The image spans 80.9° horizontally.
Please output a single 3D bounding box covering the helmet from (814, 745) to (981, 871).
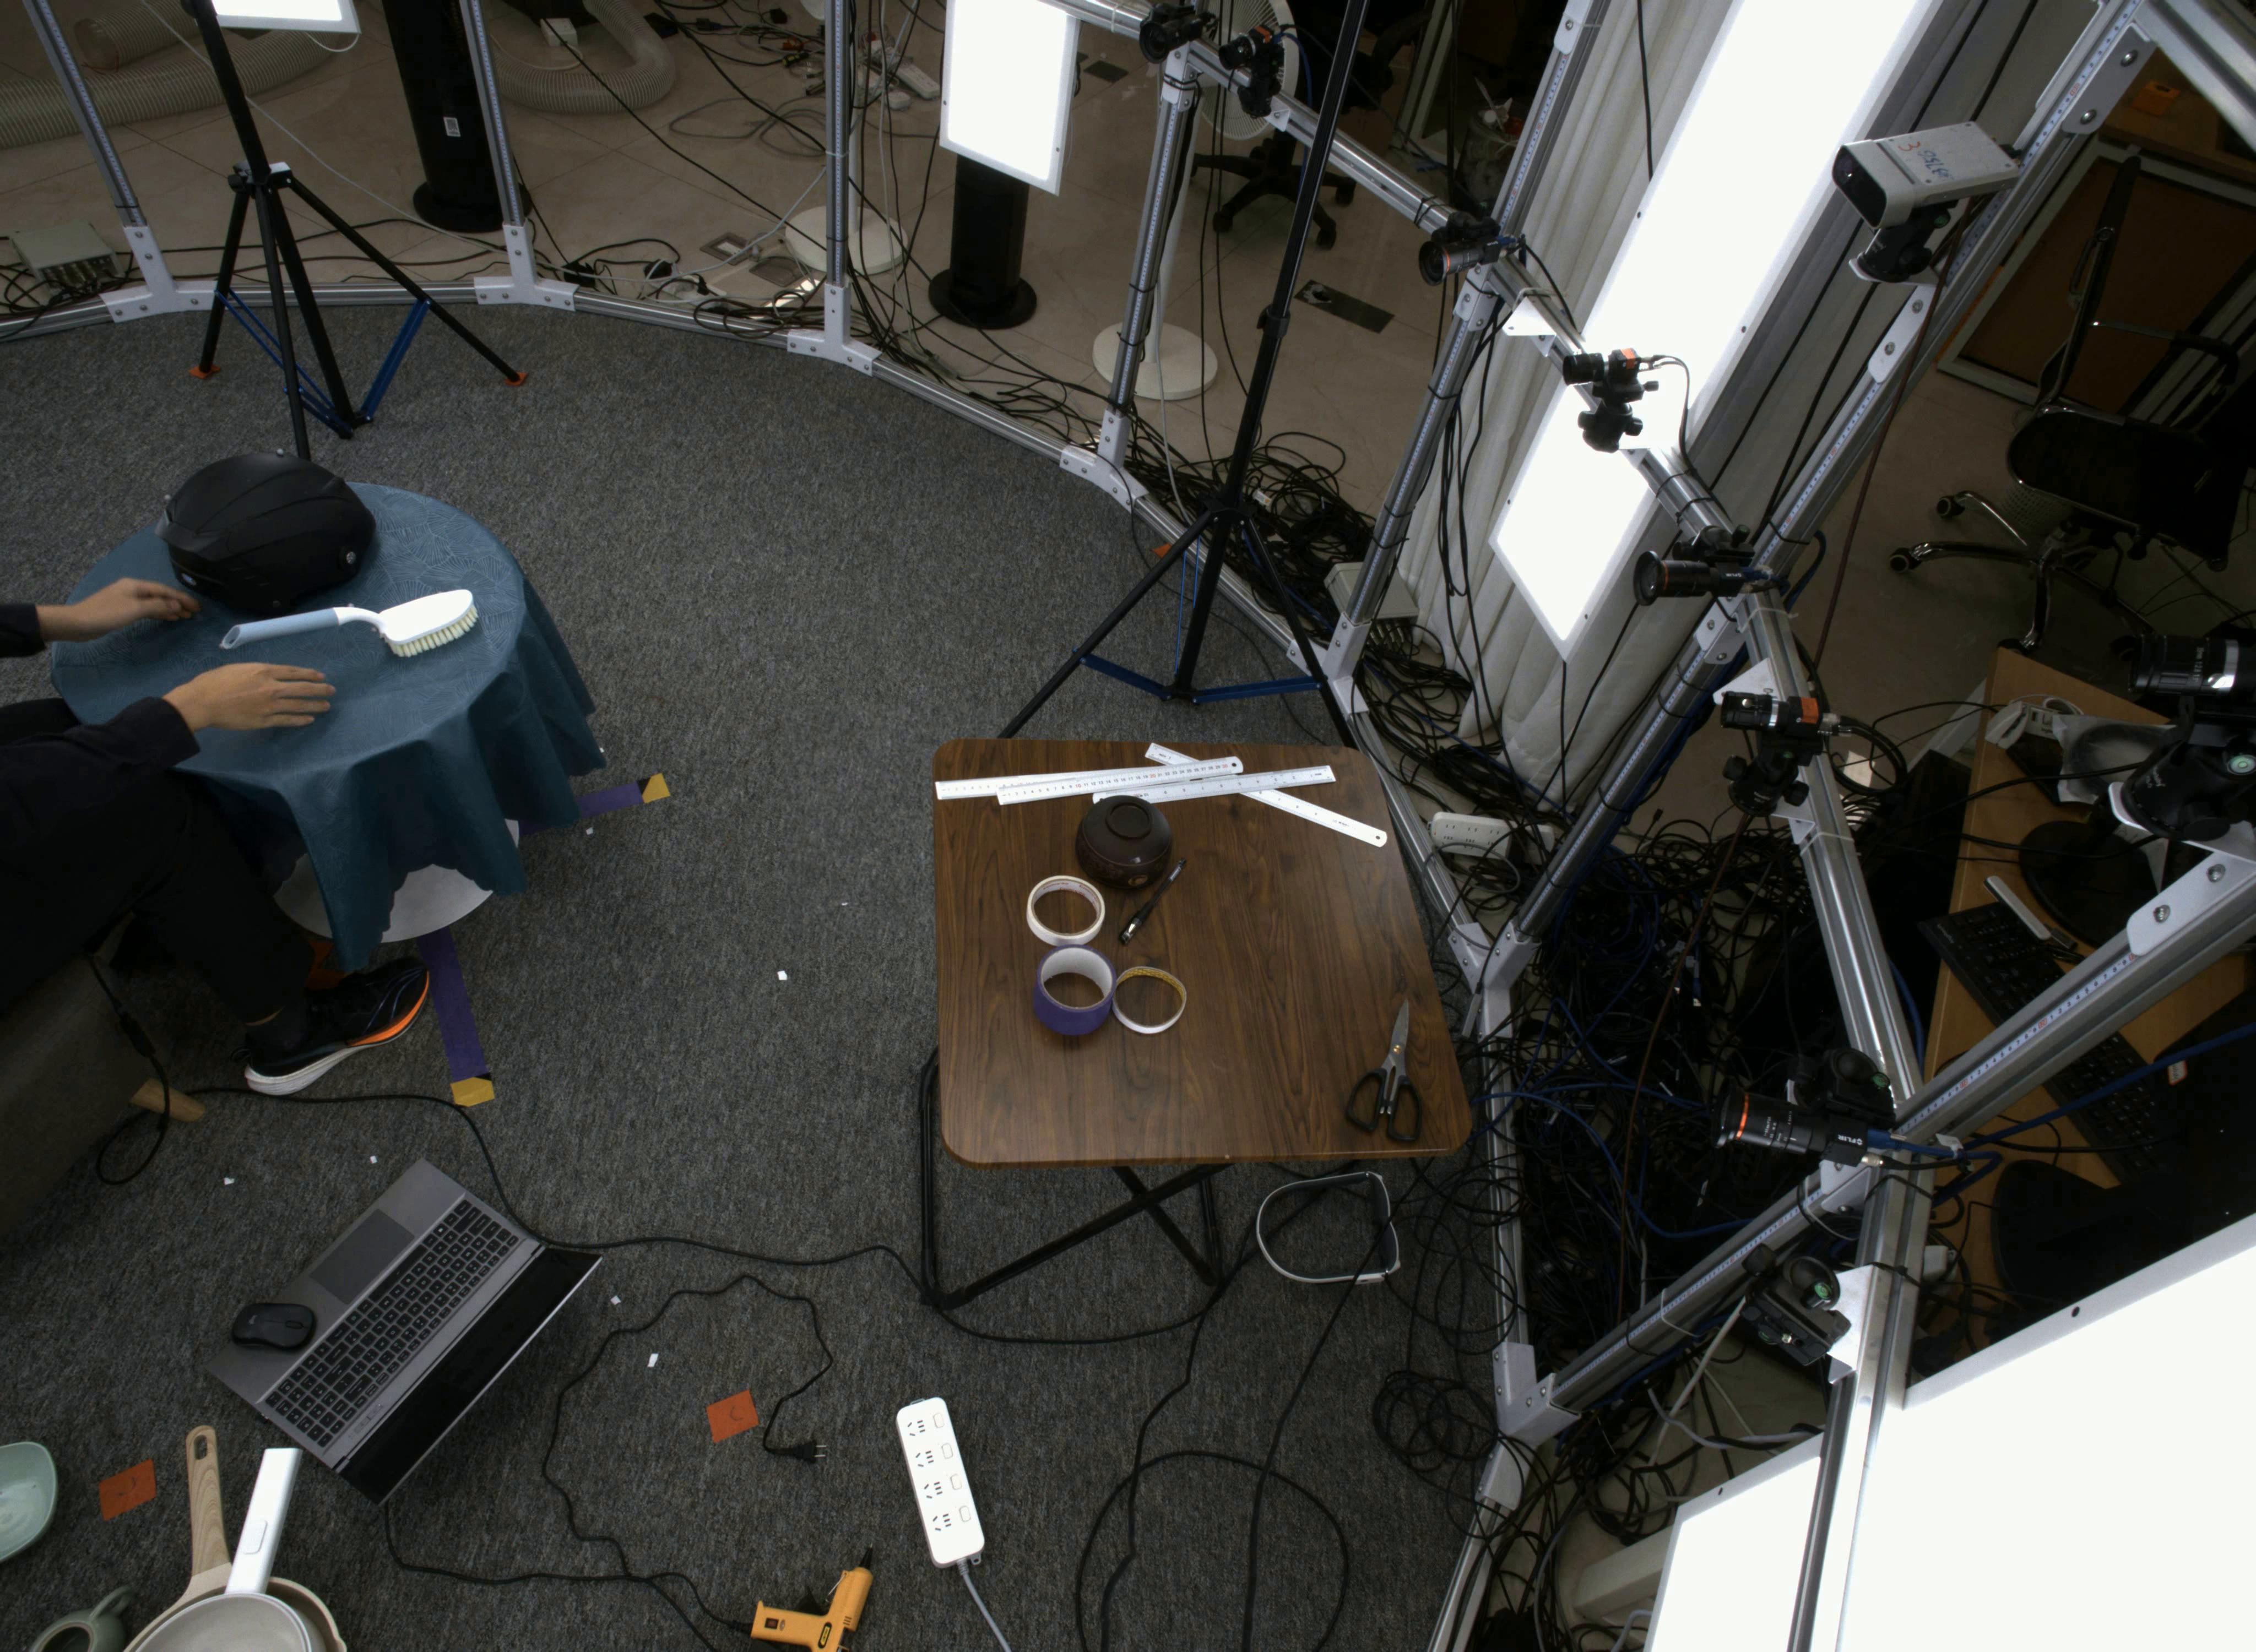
[{"bbox_3d":[-0.377,-0.045,2.138,0.280,0.177,0.237,-6,27,-34],"label":"helmet"}]

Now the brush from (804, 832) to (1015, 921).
[{"bbox_3d":[-0.329,0.087,1.953,0.328,0.084,0.082,14,-15,-16],"label":"brush"}]
